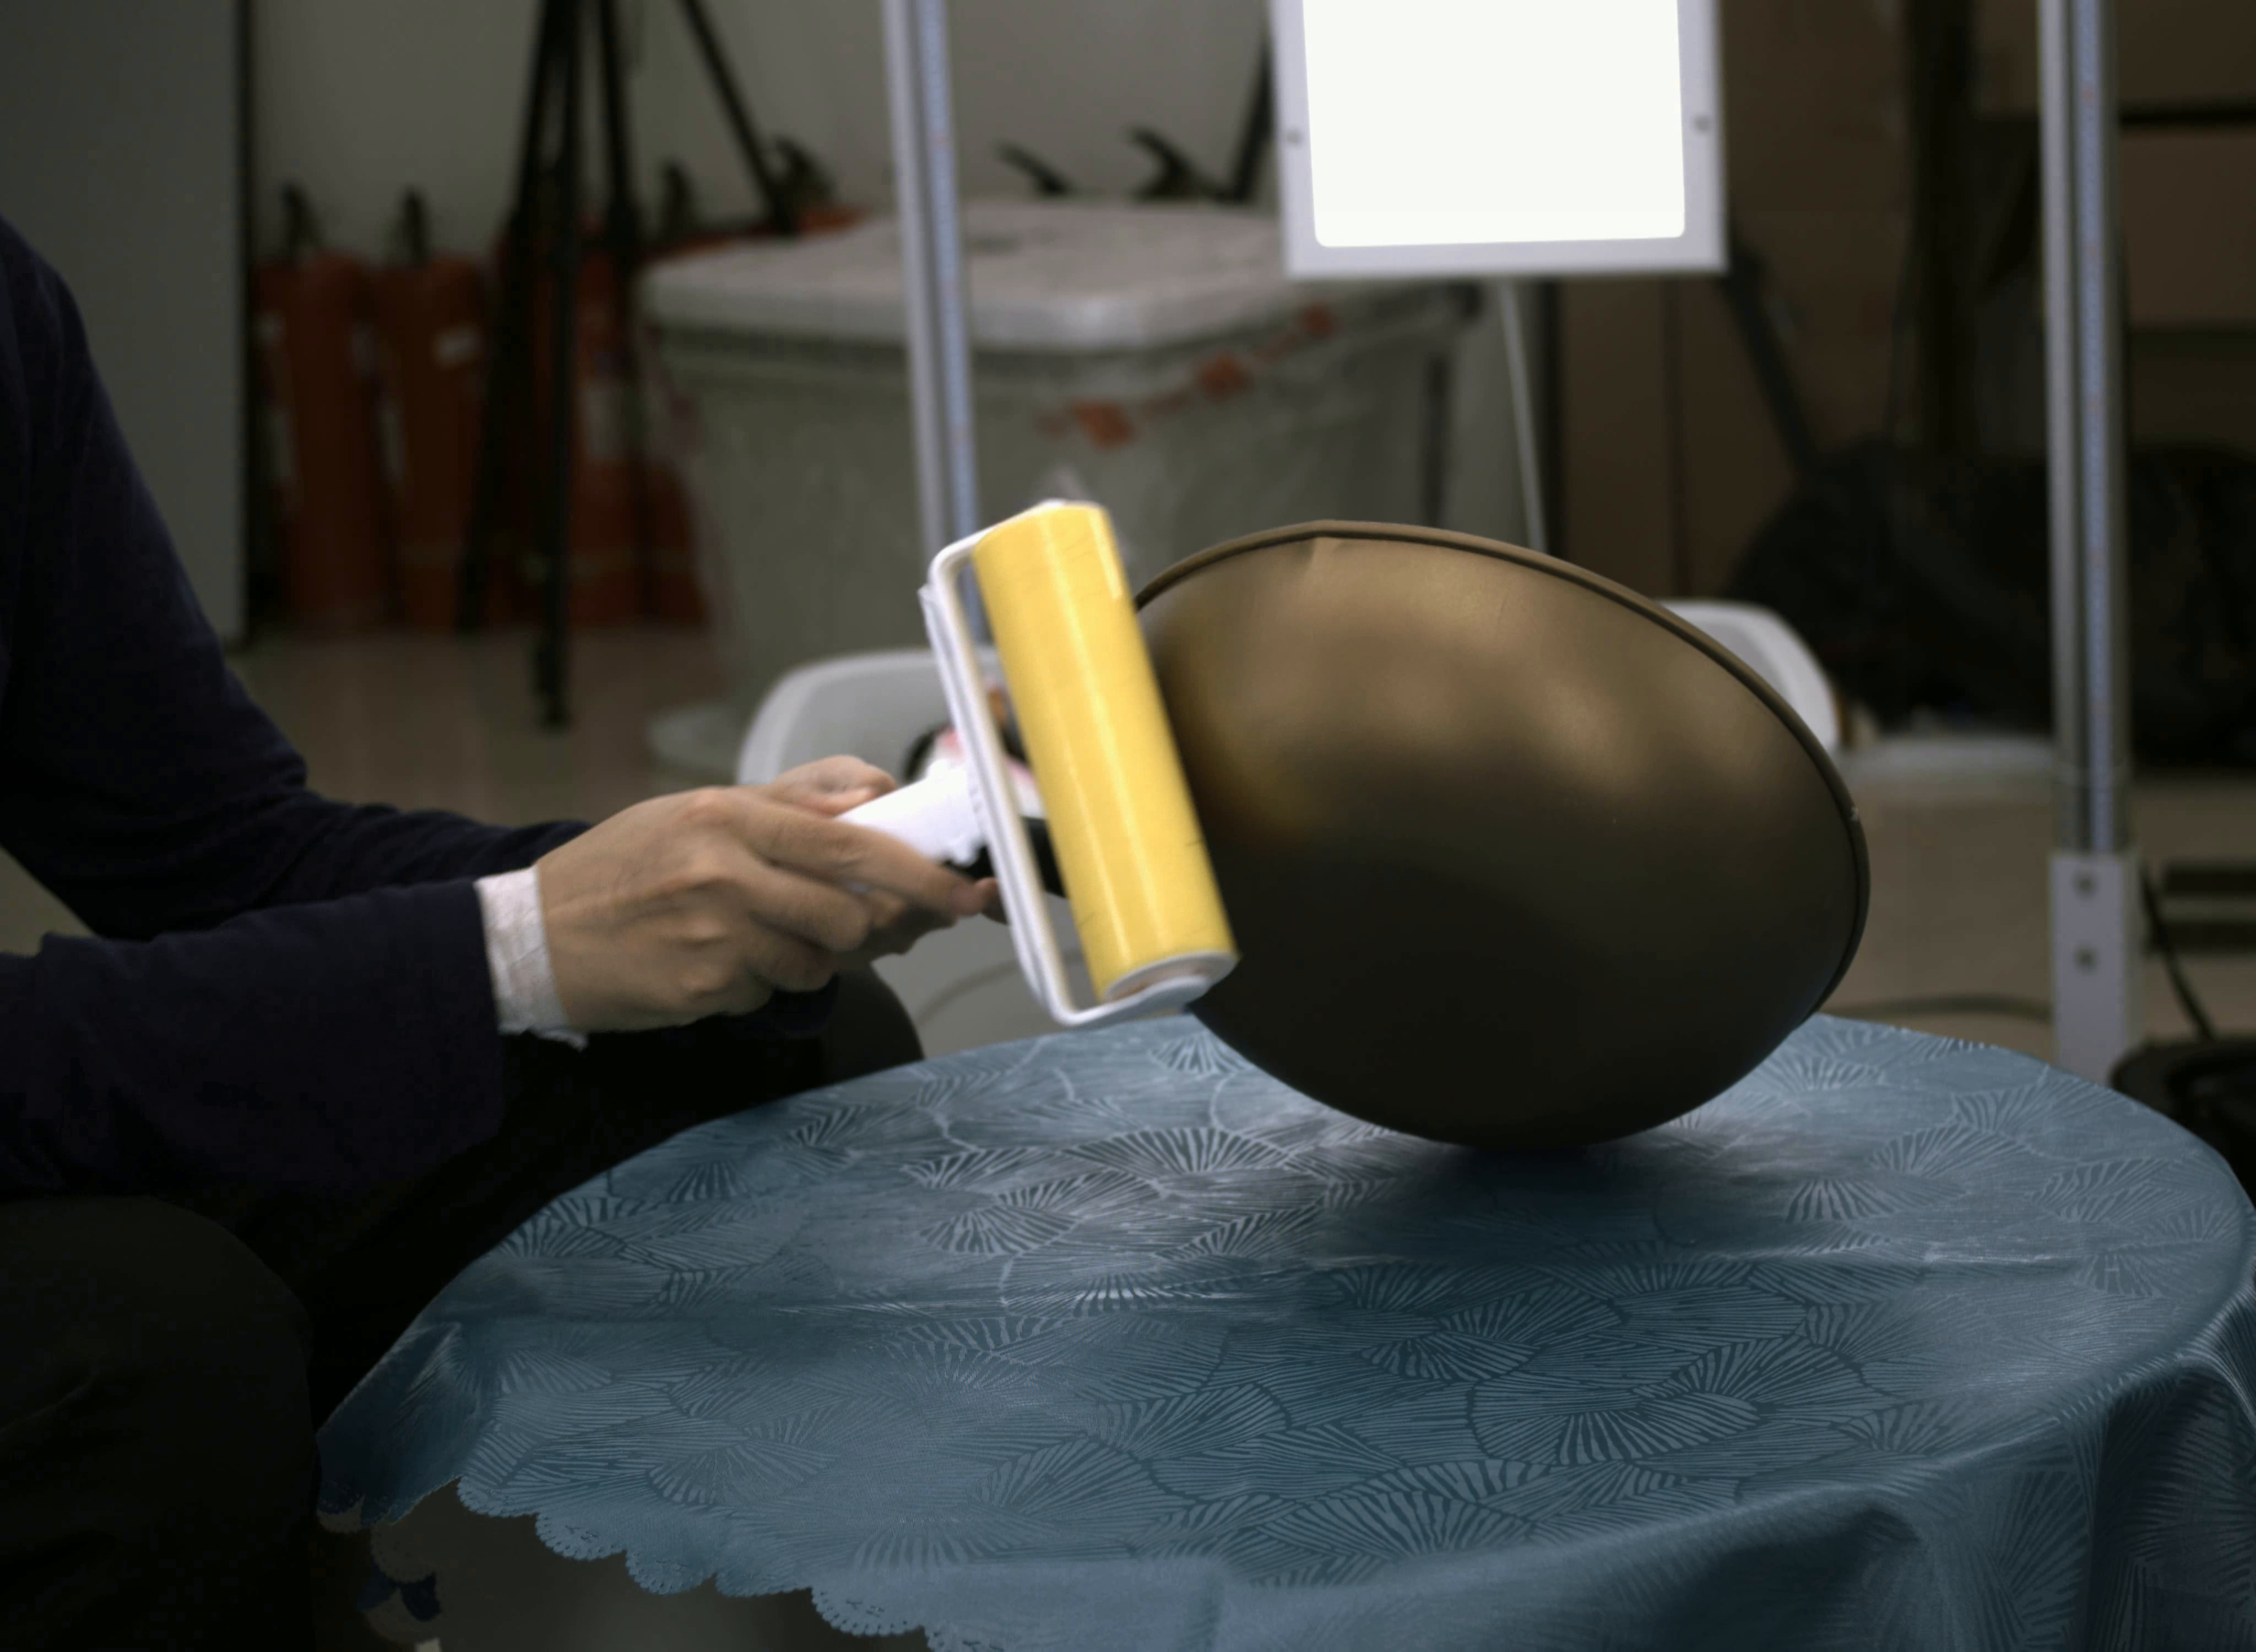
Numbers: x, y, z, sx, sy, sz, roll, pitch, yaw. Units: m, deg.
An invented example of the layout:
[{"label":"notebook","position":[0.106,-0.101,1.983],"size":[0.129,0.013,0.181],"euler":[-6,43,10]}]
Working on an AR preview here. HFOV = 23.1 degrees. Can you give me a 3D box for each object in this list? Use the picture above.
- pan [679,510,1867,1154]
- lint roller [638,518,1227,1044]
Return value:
[{"label":"pan","position":[0.024,0.026,1.890],"size":[0.472,0.286,0.086],"euler":[-3,45,32]},{"label":"lint roller","position":[-0.078,0.006,1.812],"size":[0.193,0.175,0.051],"euler":[-20,-20,10]}]
